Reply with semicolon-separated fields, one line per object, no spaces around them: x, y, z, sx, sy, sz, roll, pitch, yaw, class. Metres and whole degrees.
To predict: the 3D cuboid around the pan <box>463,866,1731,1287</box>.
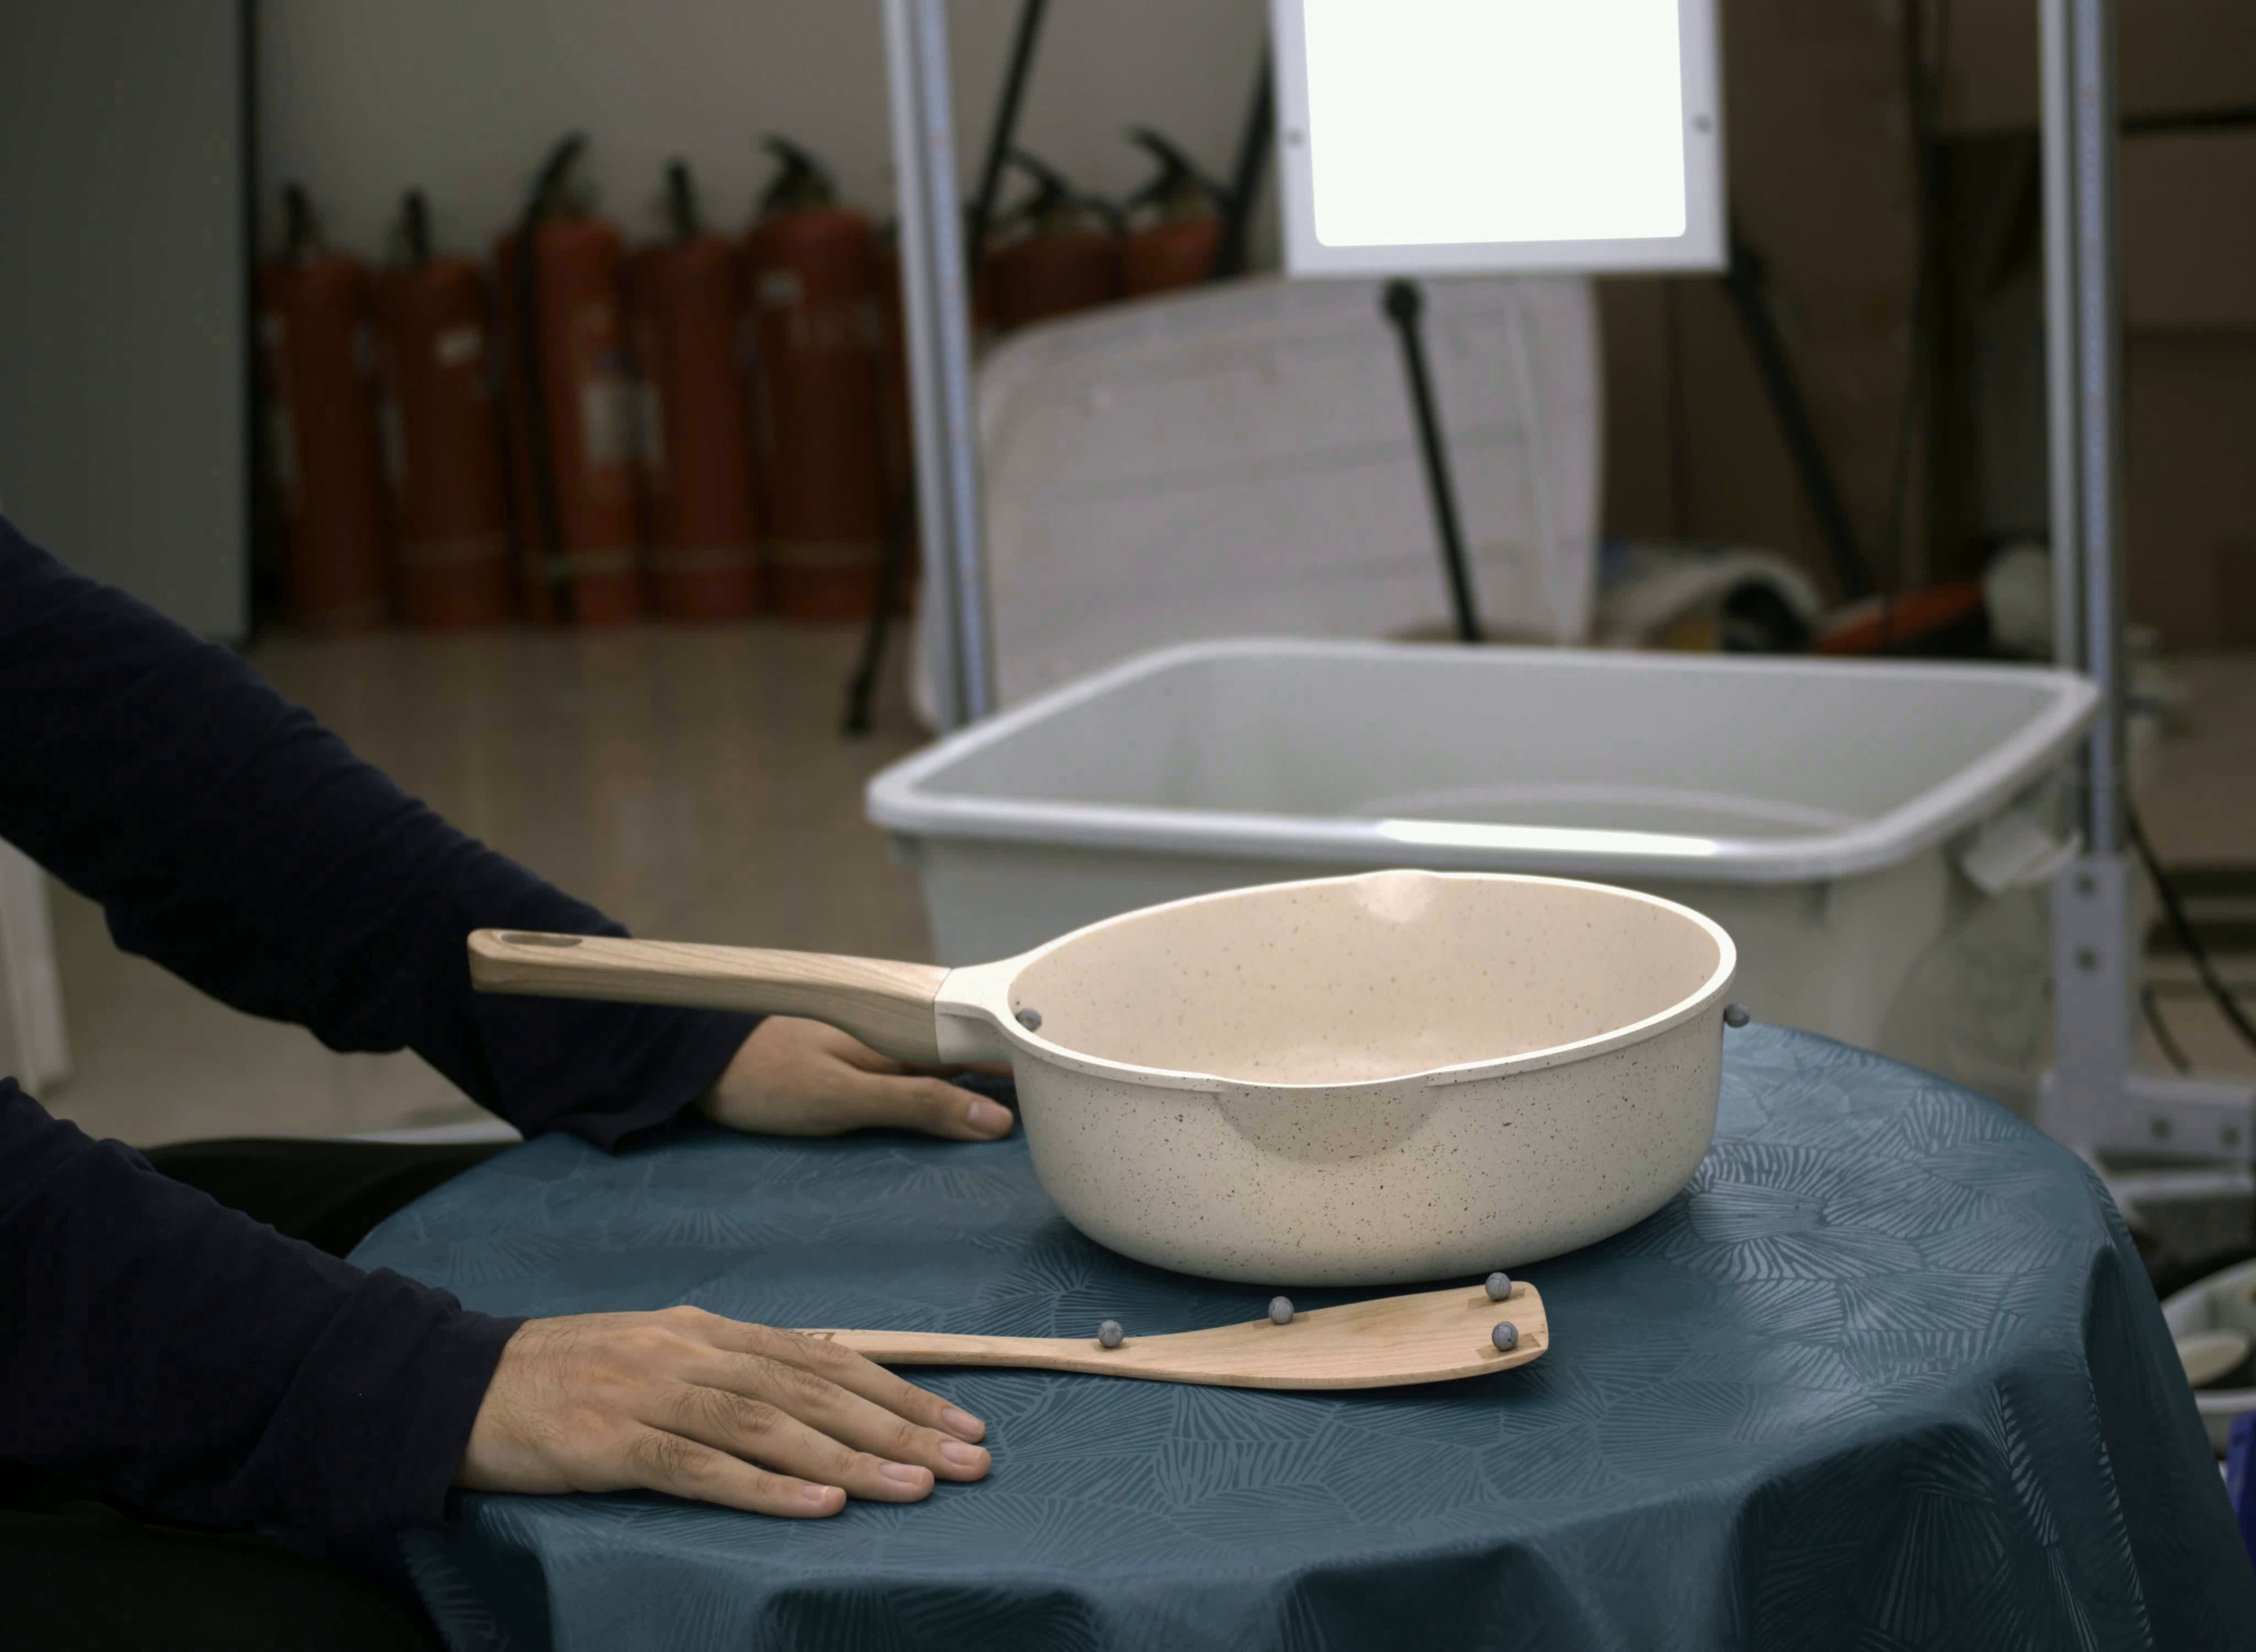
-0.010;0.084;1.877;0.437;0.102;0.261;-3;15;10;pan

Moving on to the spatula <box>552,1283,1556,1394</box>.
-0.024;0.163;1.733;0.330;0.016;0.079;-2;14;14;spatula
